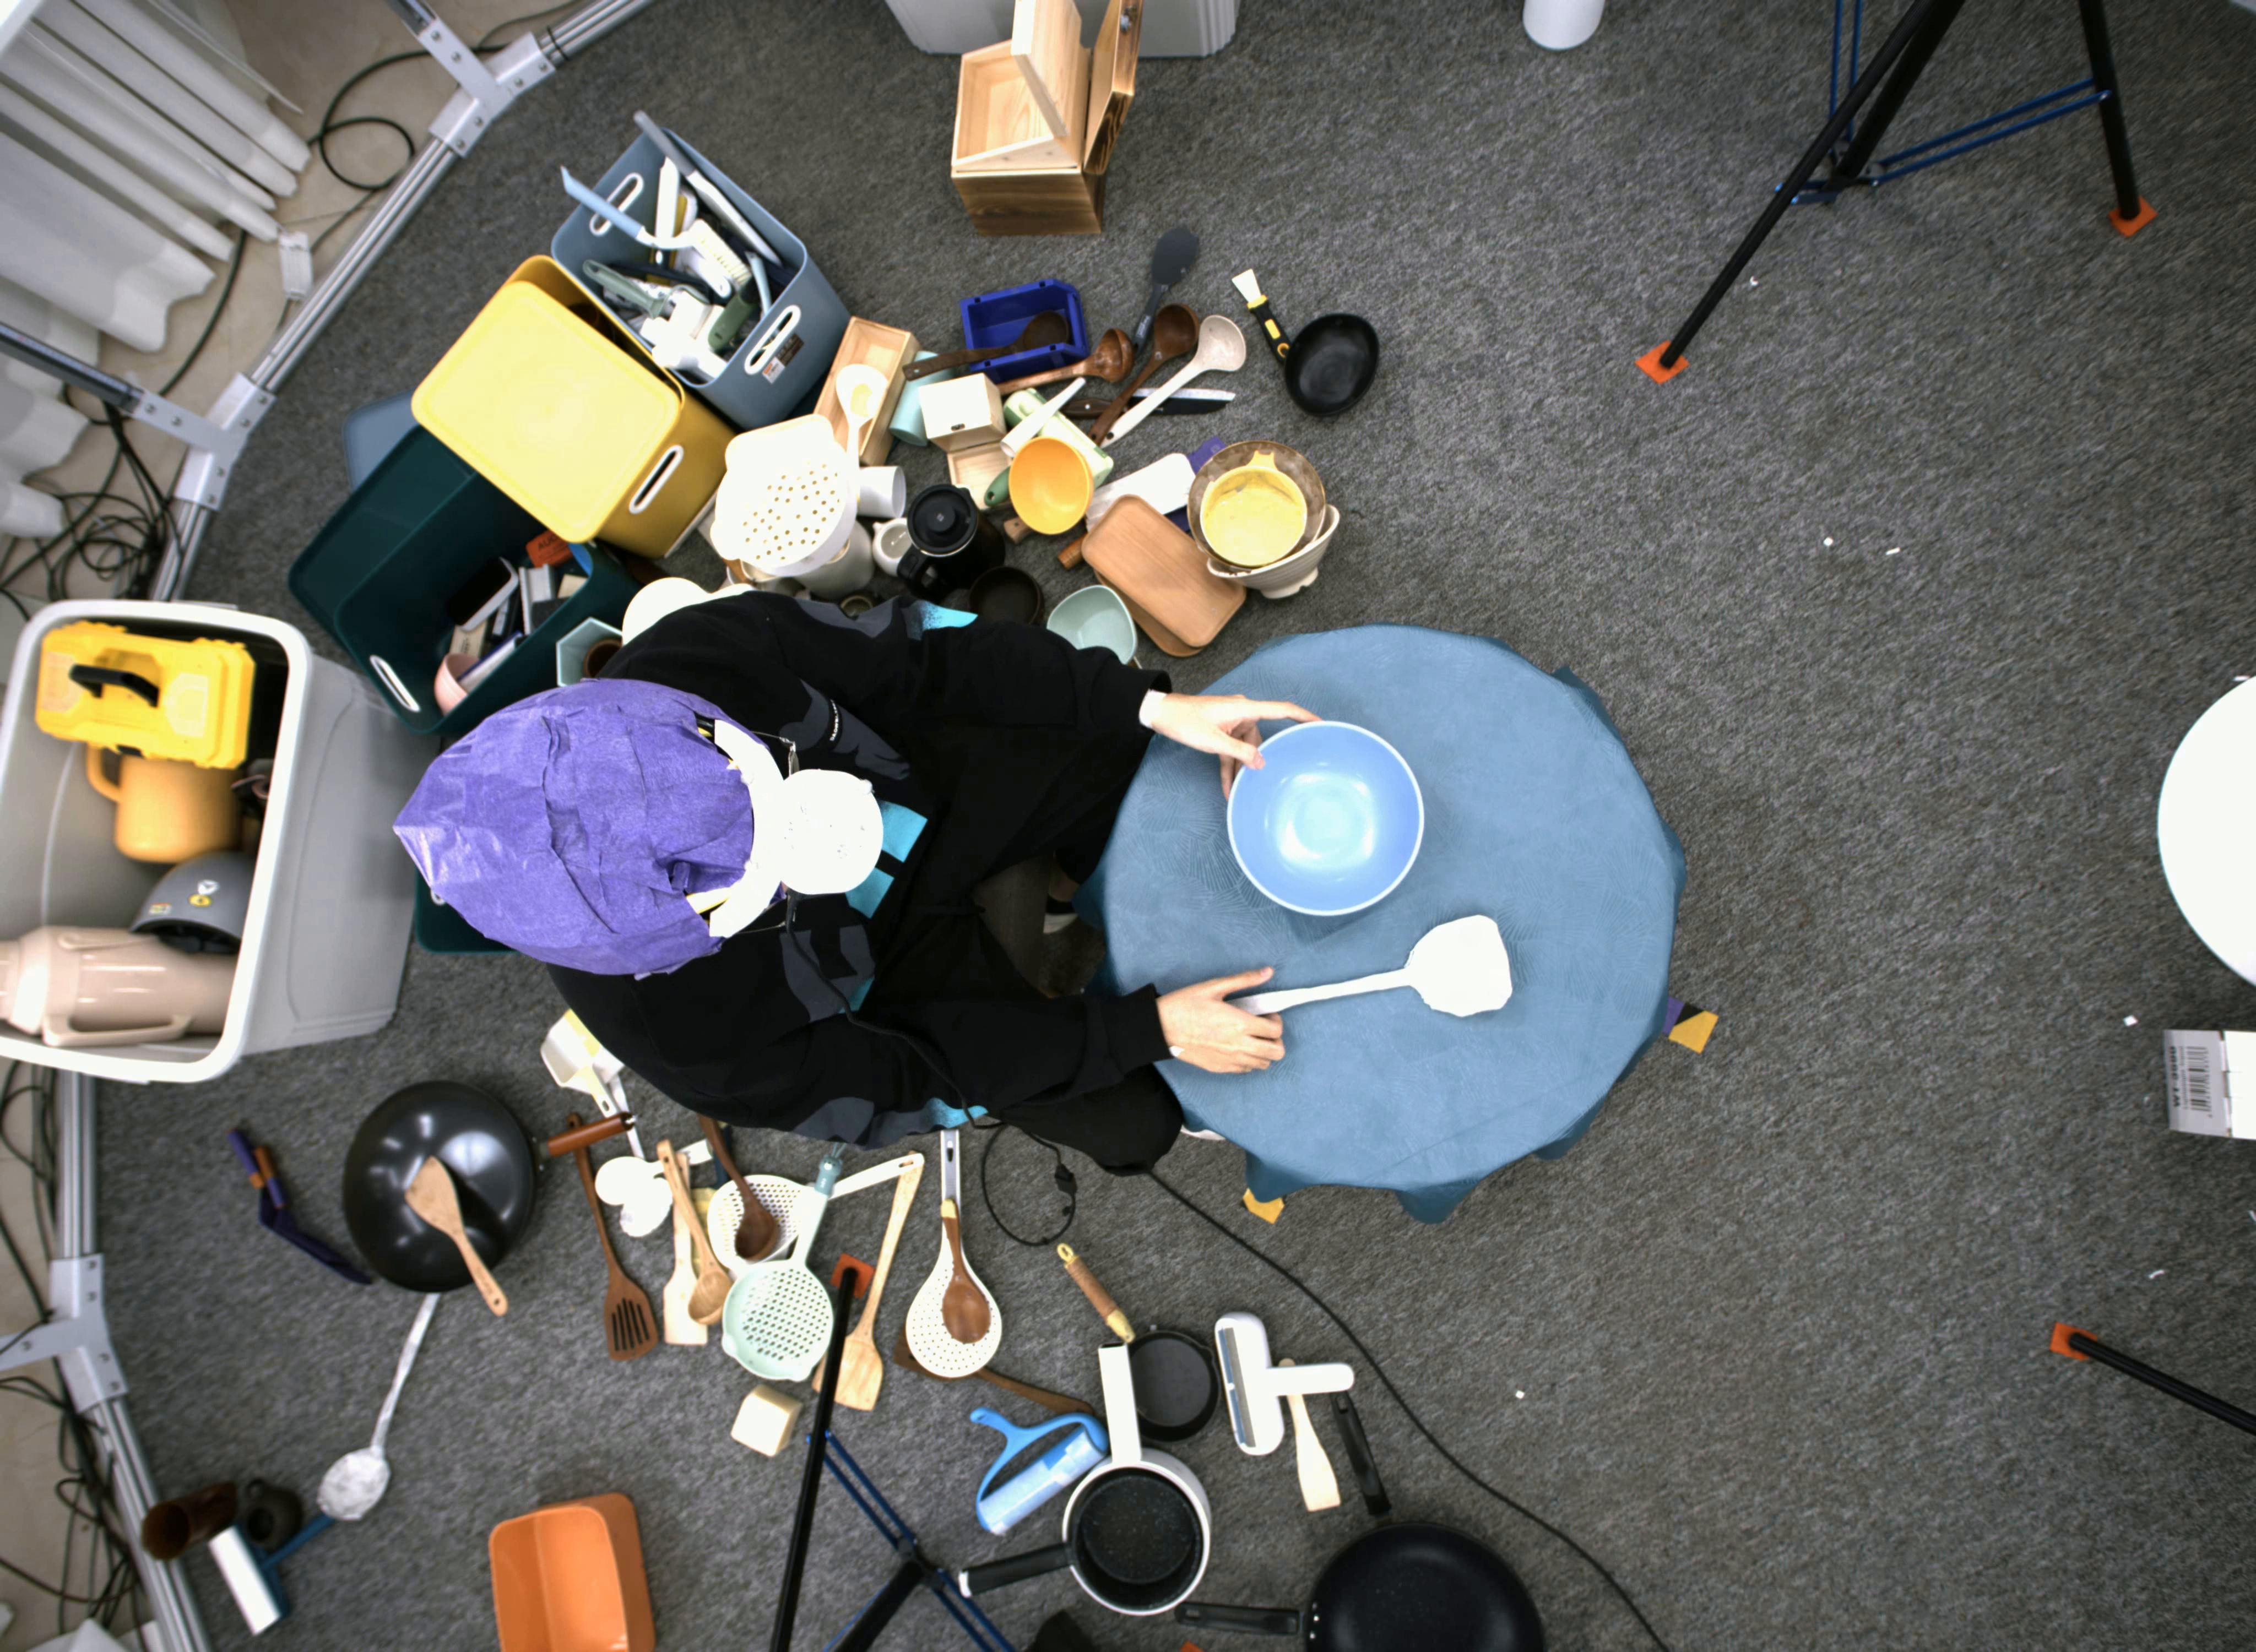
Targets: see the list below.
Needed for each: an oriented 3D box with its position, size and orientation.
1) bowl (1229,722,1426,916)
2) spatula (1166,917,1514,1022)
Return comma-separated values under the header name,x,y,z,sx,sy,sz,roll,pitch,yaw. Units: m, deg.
name,x,y,z,sx,sy,sz,roll,pitch,yaw
bowl,0.206,-0.004,1.432,0.197,0.095,0.196,-1,87,8
spatula,0.216,0.170,1.448,0.367,0.045,0.098,-11,85,9
